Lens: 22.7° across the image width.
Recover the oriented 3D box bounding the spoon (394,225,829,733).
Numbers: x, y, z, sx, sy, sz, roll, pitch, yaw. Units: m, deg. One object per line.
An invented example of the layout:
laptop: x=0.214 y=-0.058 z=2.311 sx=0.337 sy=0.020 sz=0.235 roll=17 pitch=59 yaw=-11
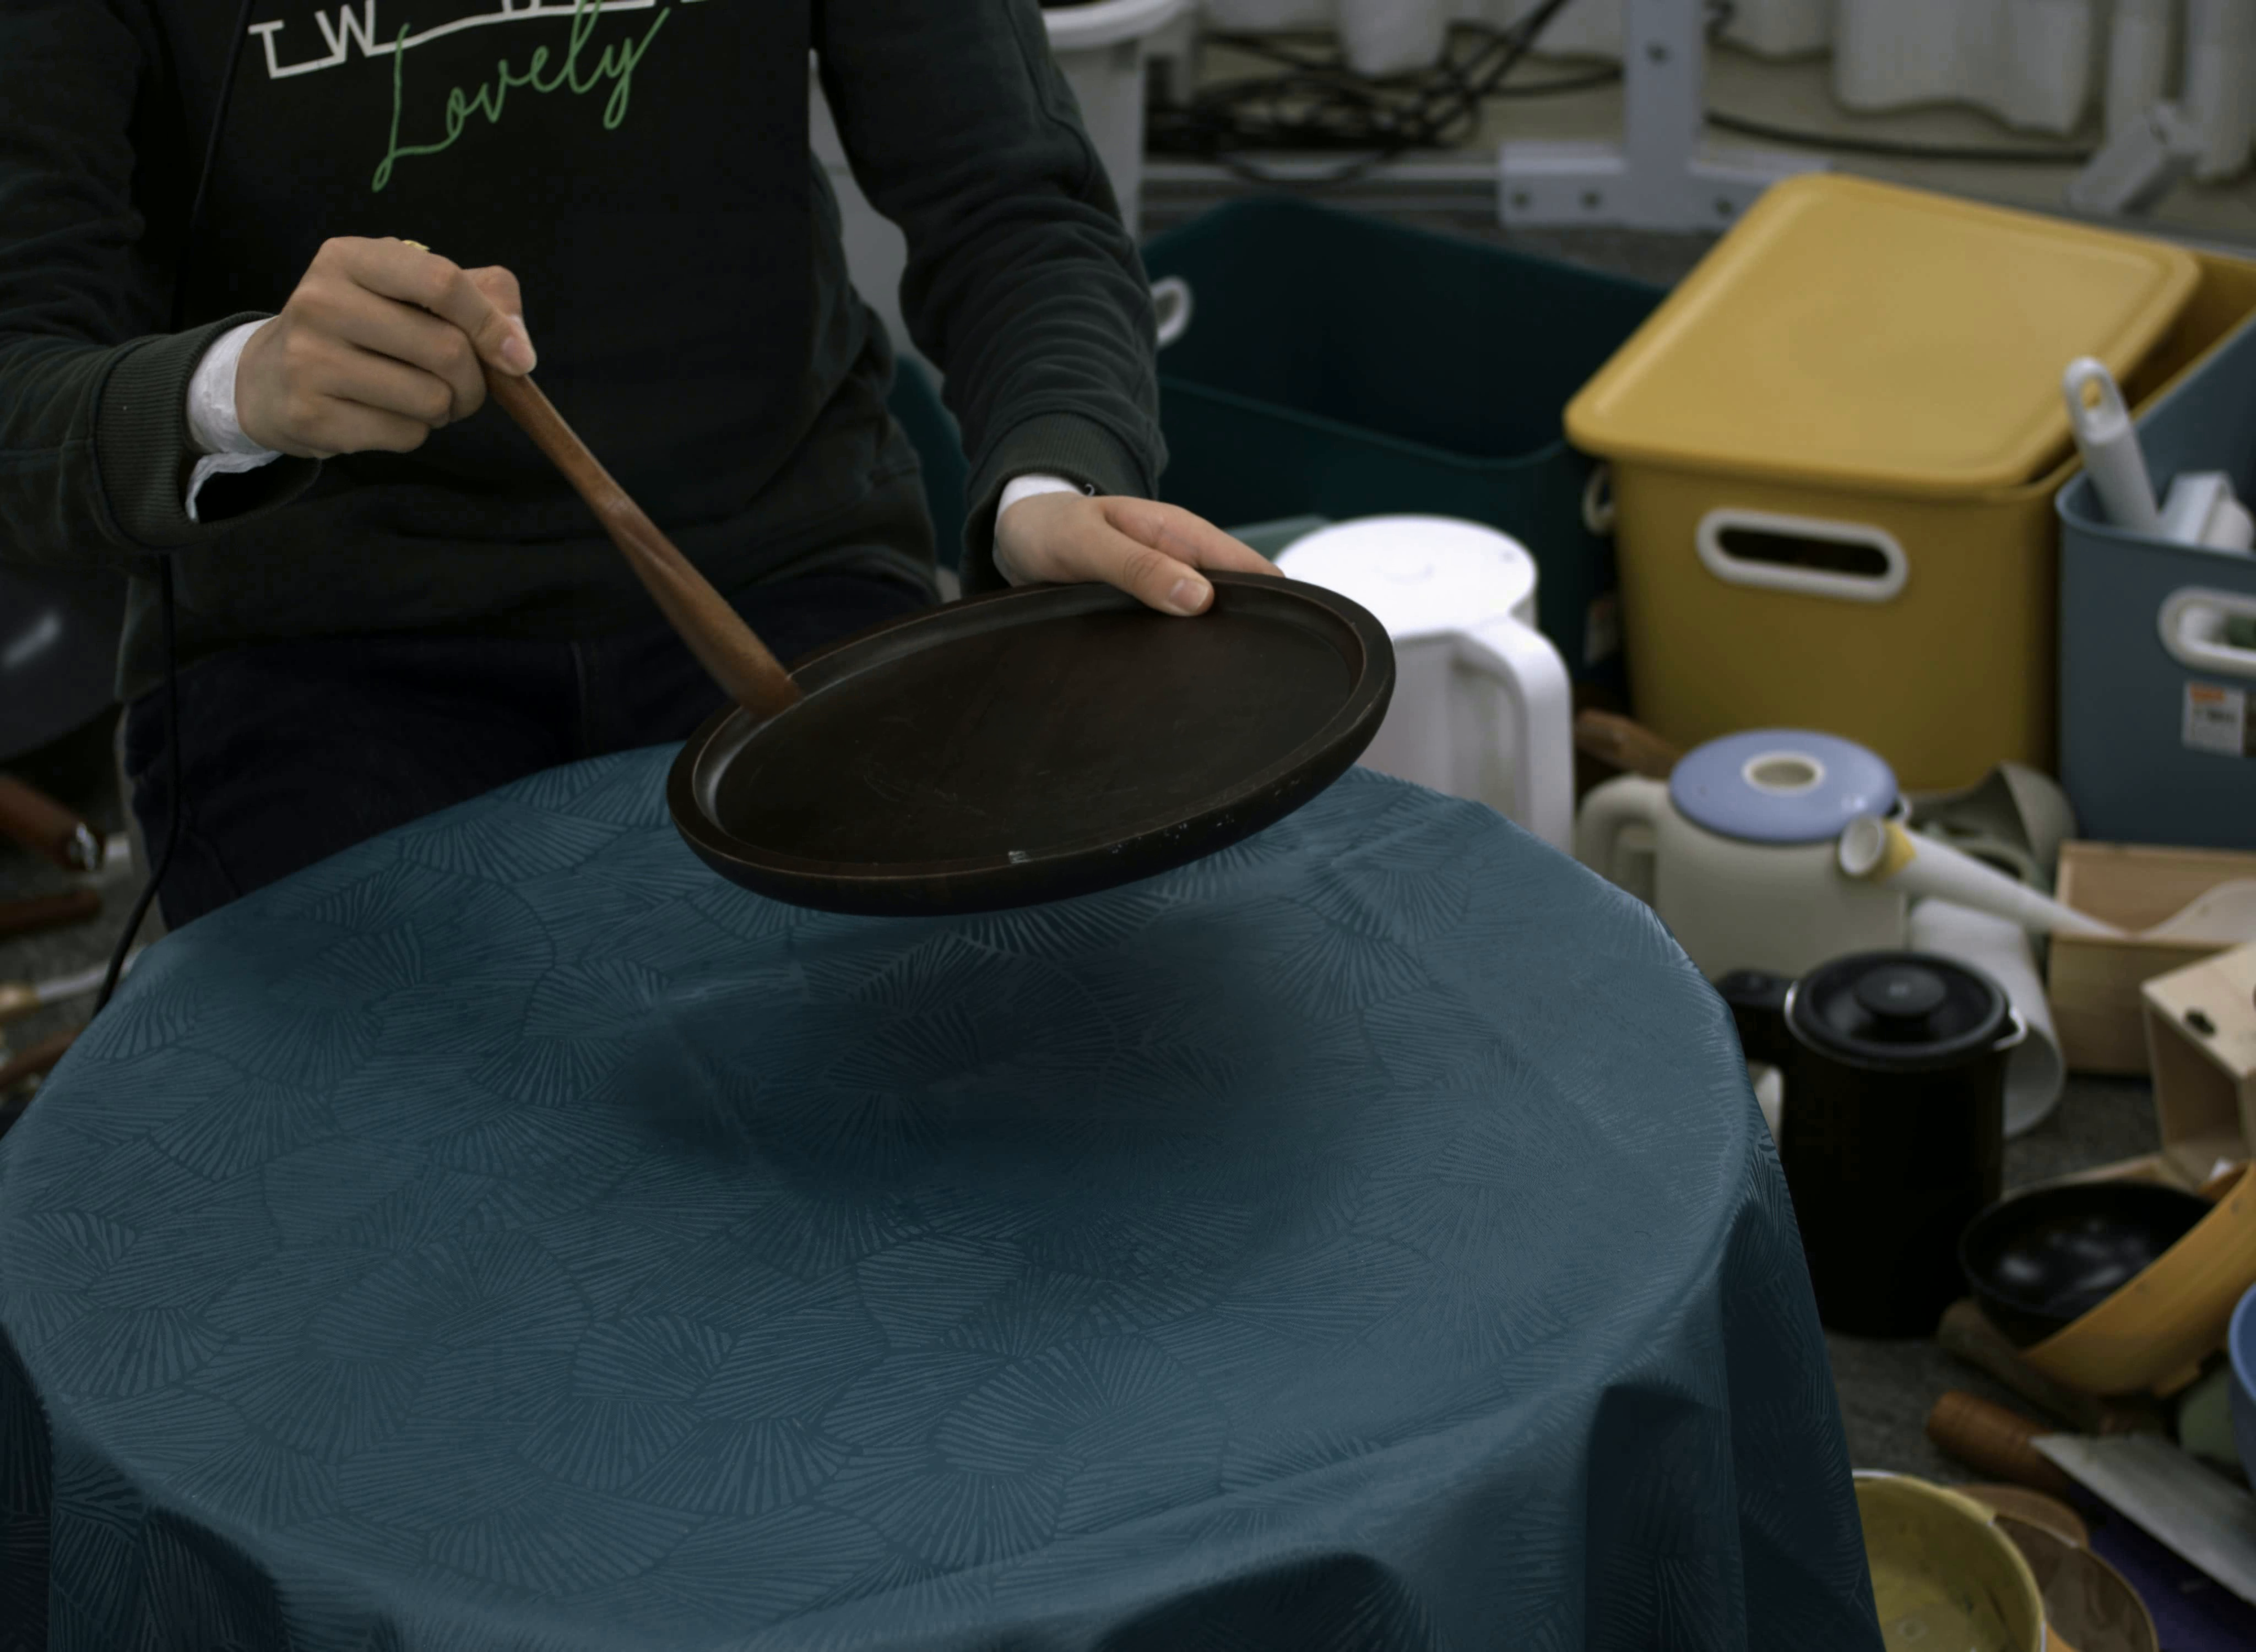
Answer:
spoon: x=-0.173 y=-0.112 z=1.881 sx=0.017 sy=0.216 sz=0.075 roll=-39 pitch=3 yaw=-5

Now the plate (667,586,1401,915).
plate: x=-0.031 y=-0.028 z=1.911 sx=0.253 sy=0.029 sz=0.258 roll=-8 pitch=23 yaw=4
